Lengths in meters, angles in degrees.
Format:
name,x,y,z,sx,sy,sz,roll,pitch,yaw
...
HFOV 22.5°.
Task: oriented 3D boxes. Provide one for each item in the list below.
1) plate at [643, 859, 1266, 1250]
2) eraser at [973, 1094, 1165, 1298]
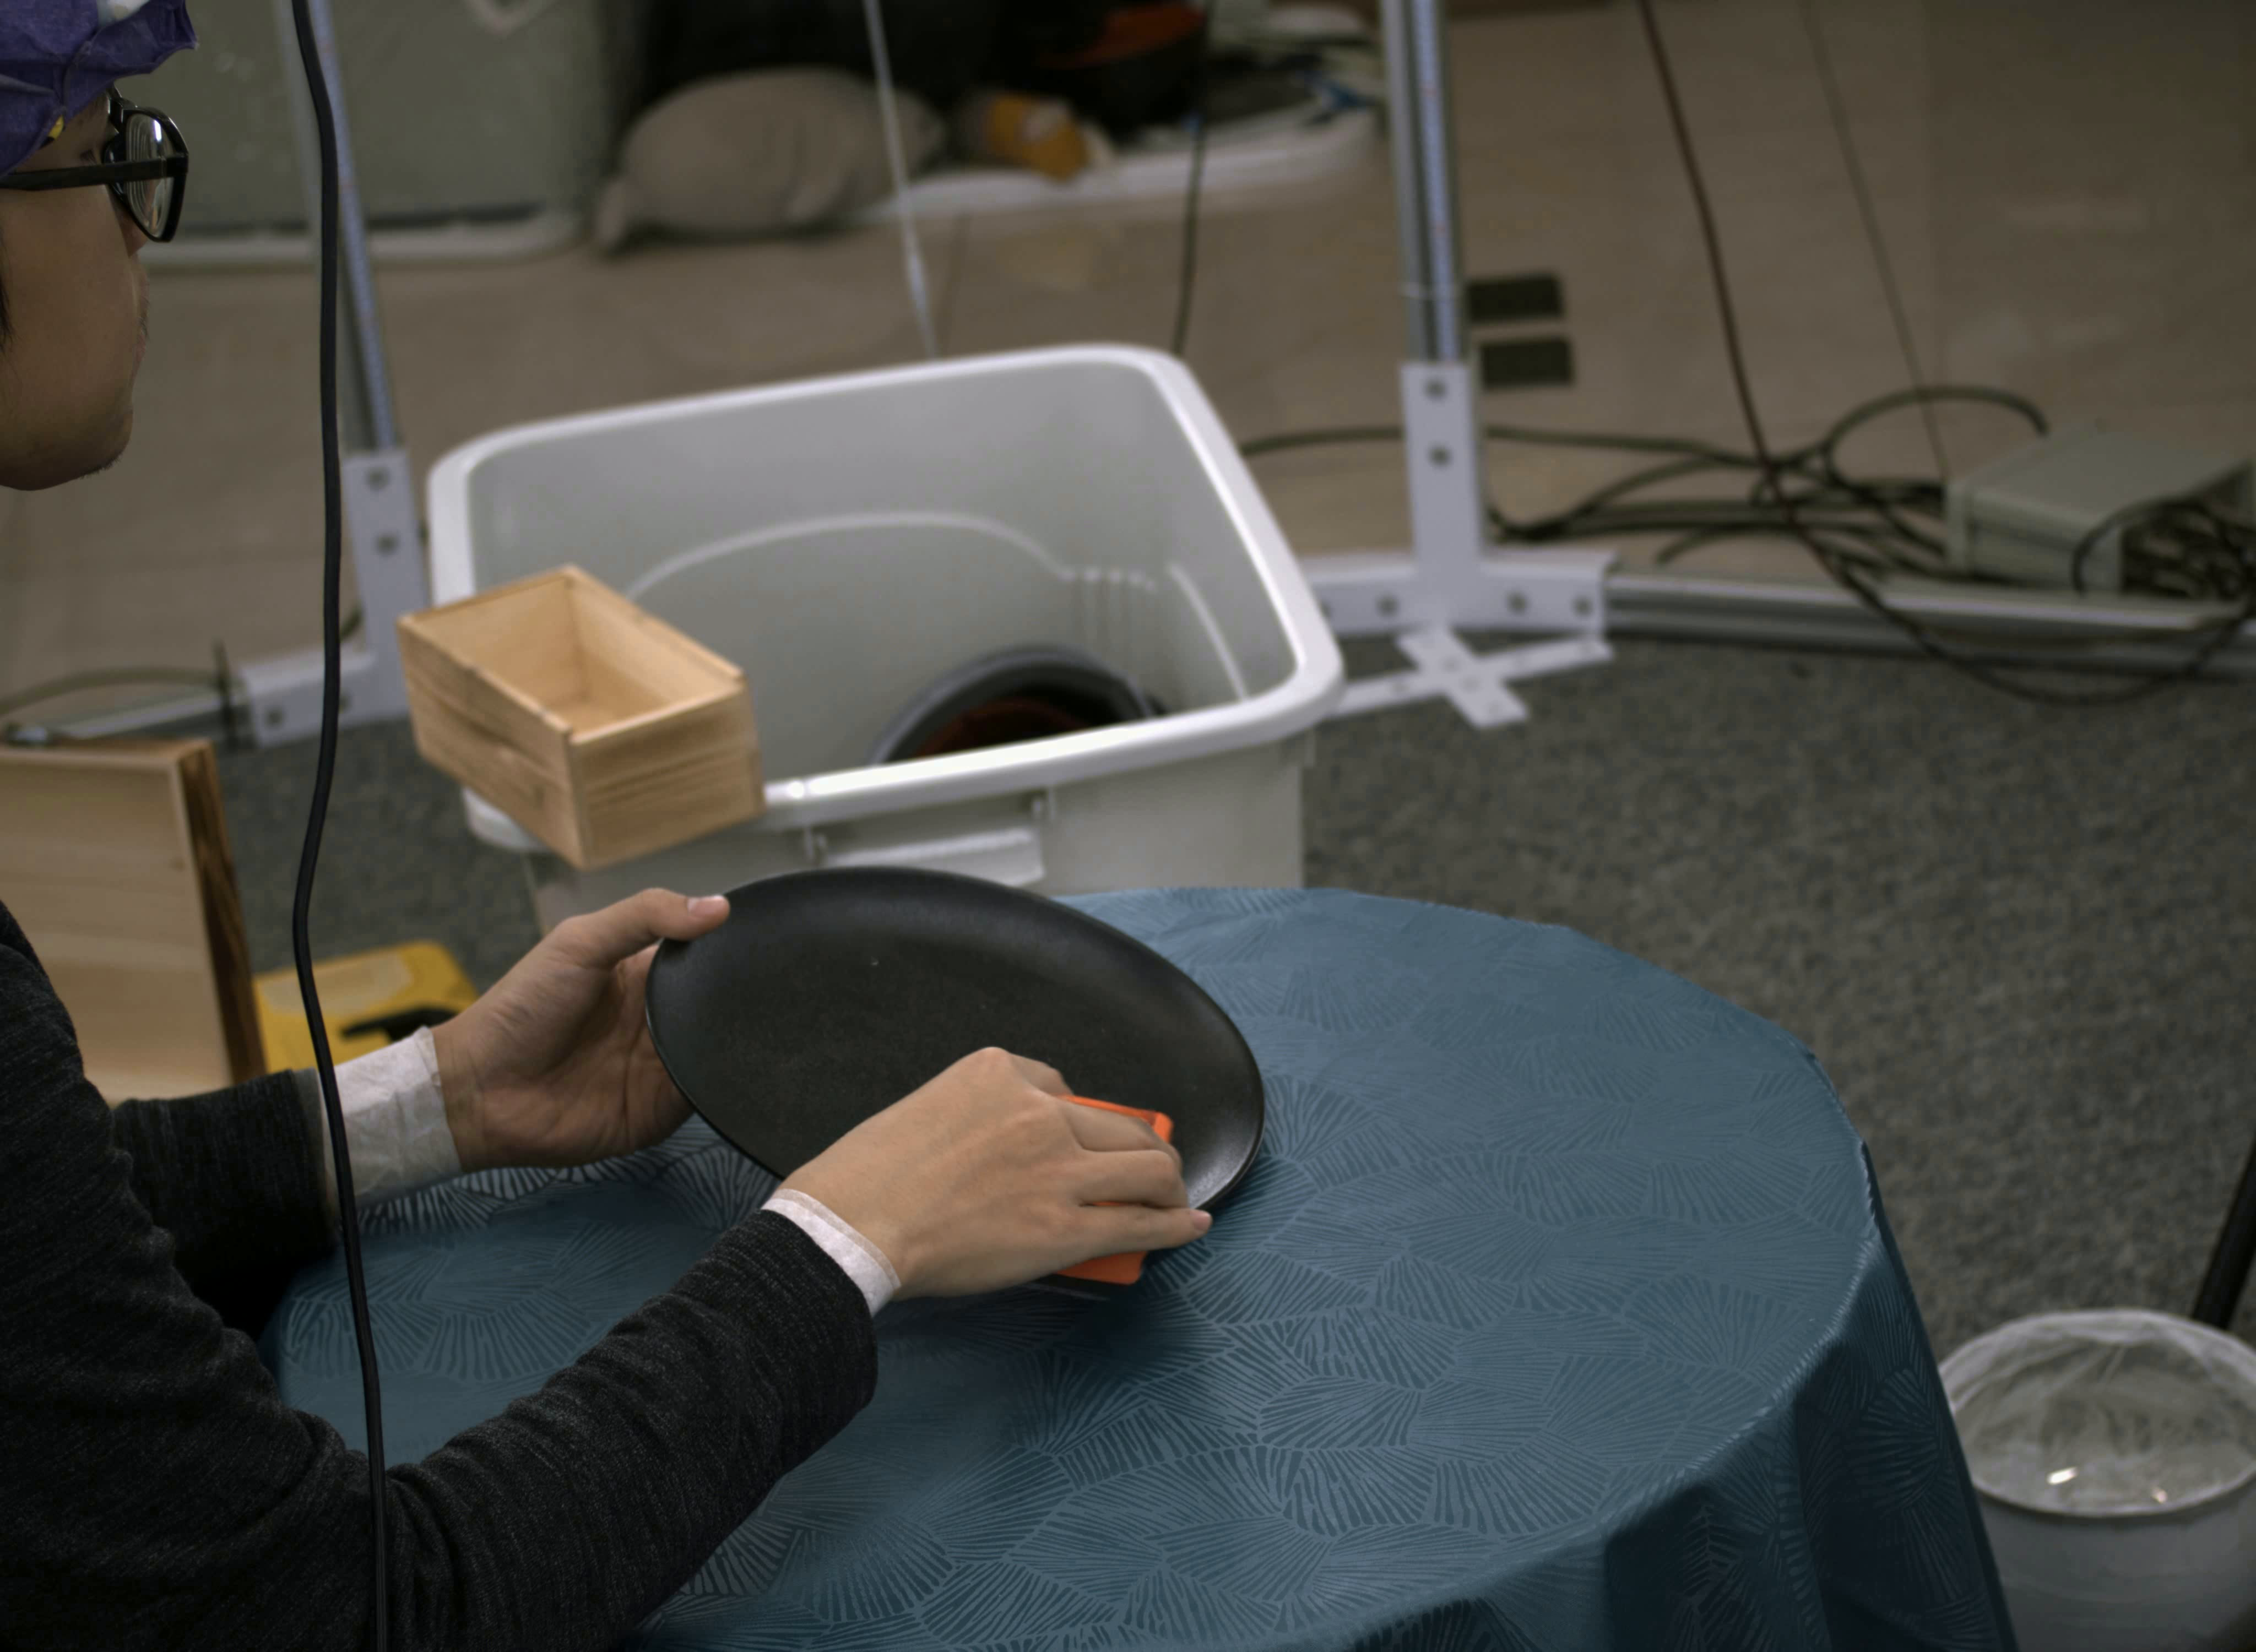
name,x,y,z,sx,sy,sz,roll,pitch,yaw
plate,-0.067,0.092,2.164,0.244,0.024,0.240,11,33,-8
eraser,-0.021,0.135,2.081,0.059,0.023,0.106,8,26,5
